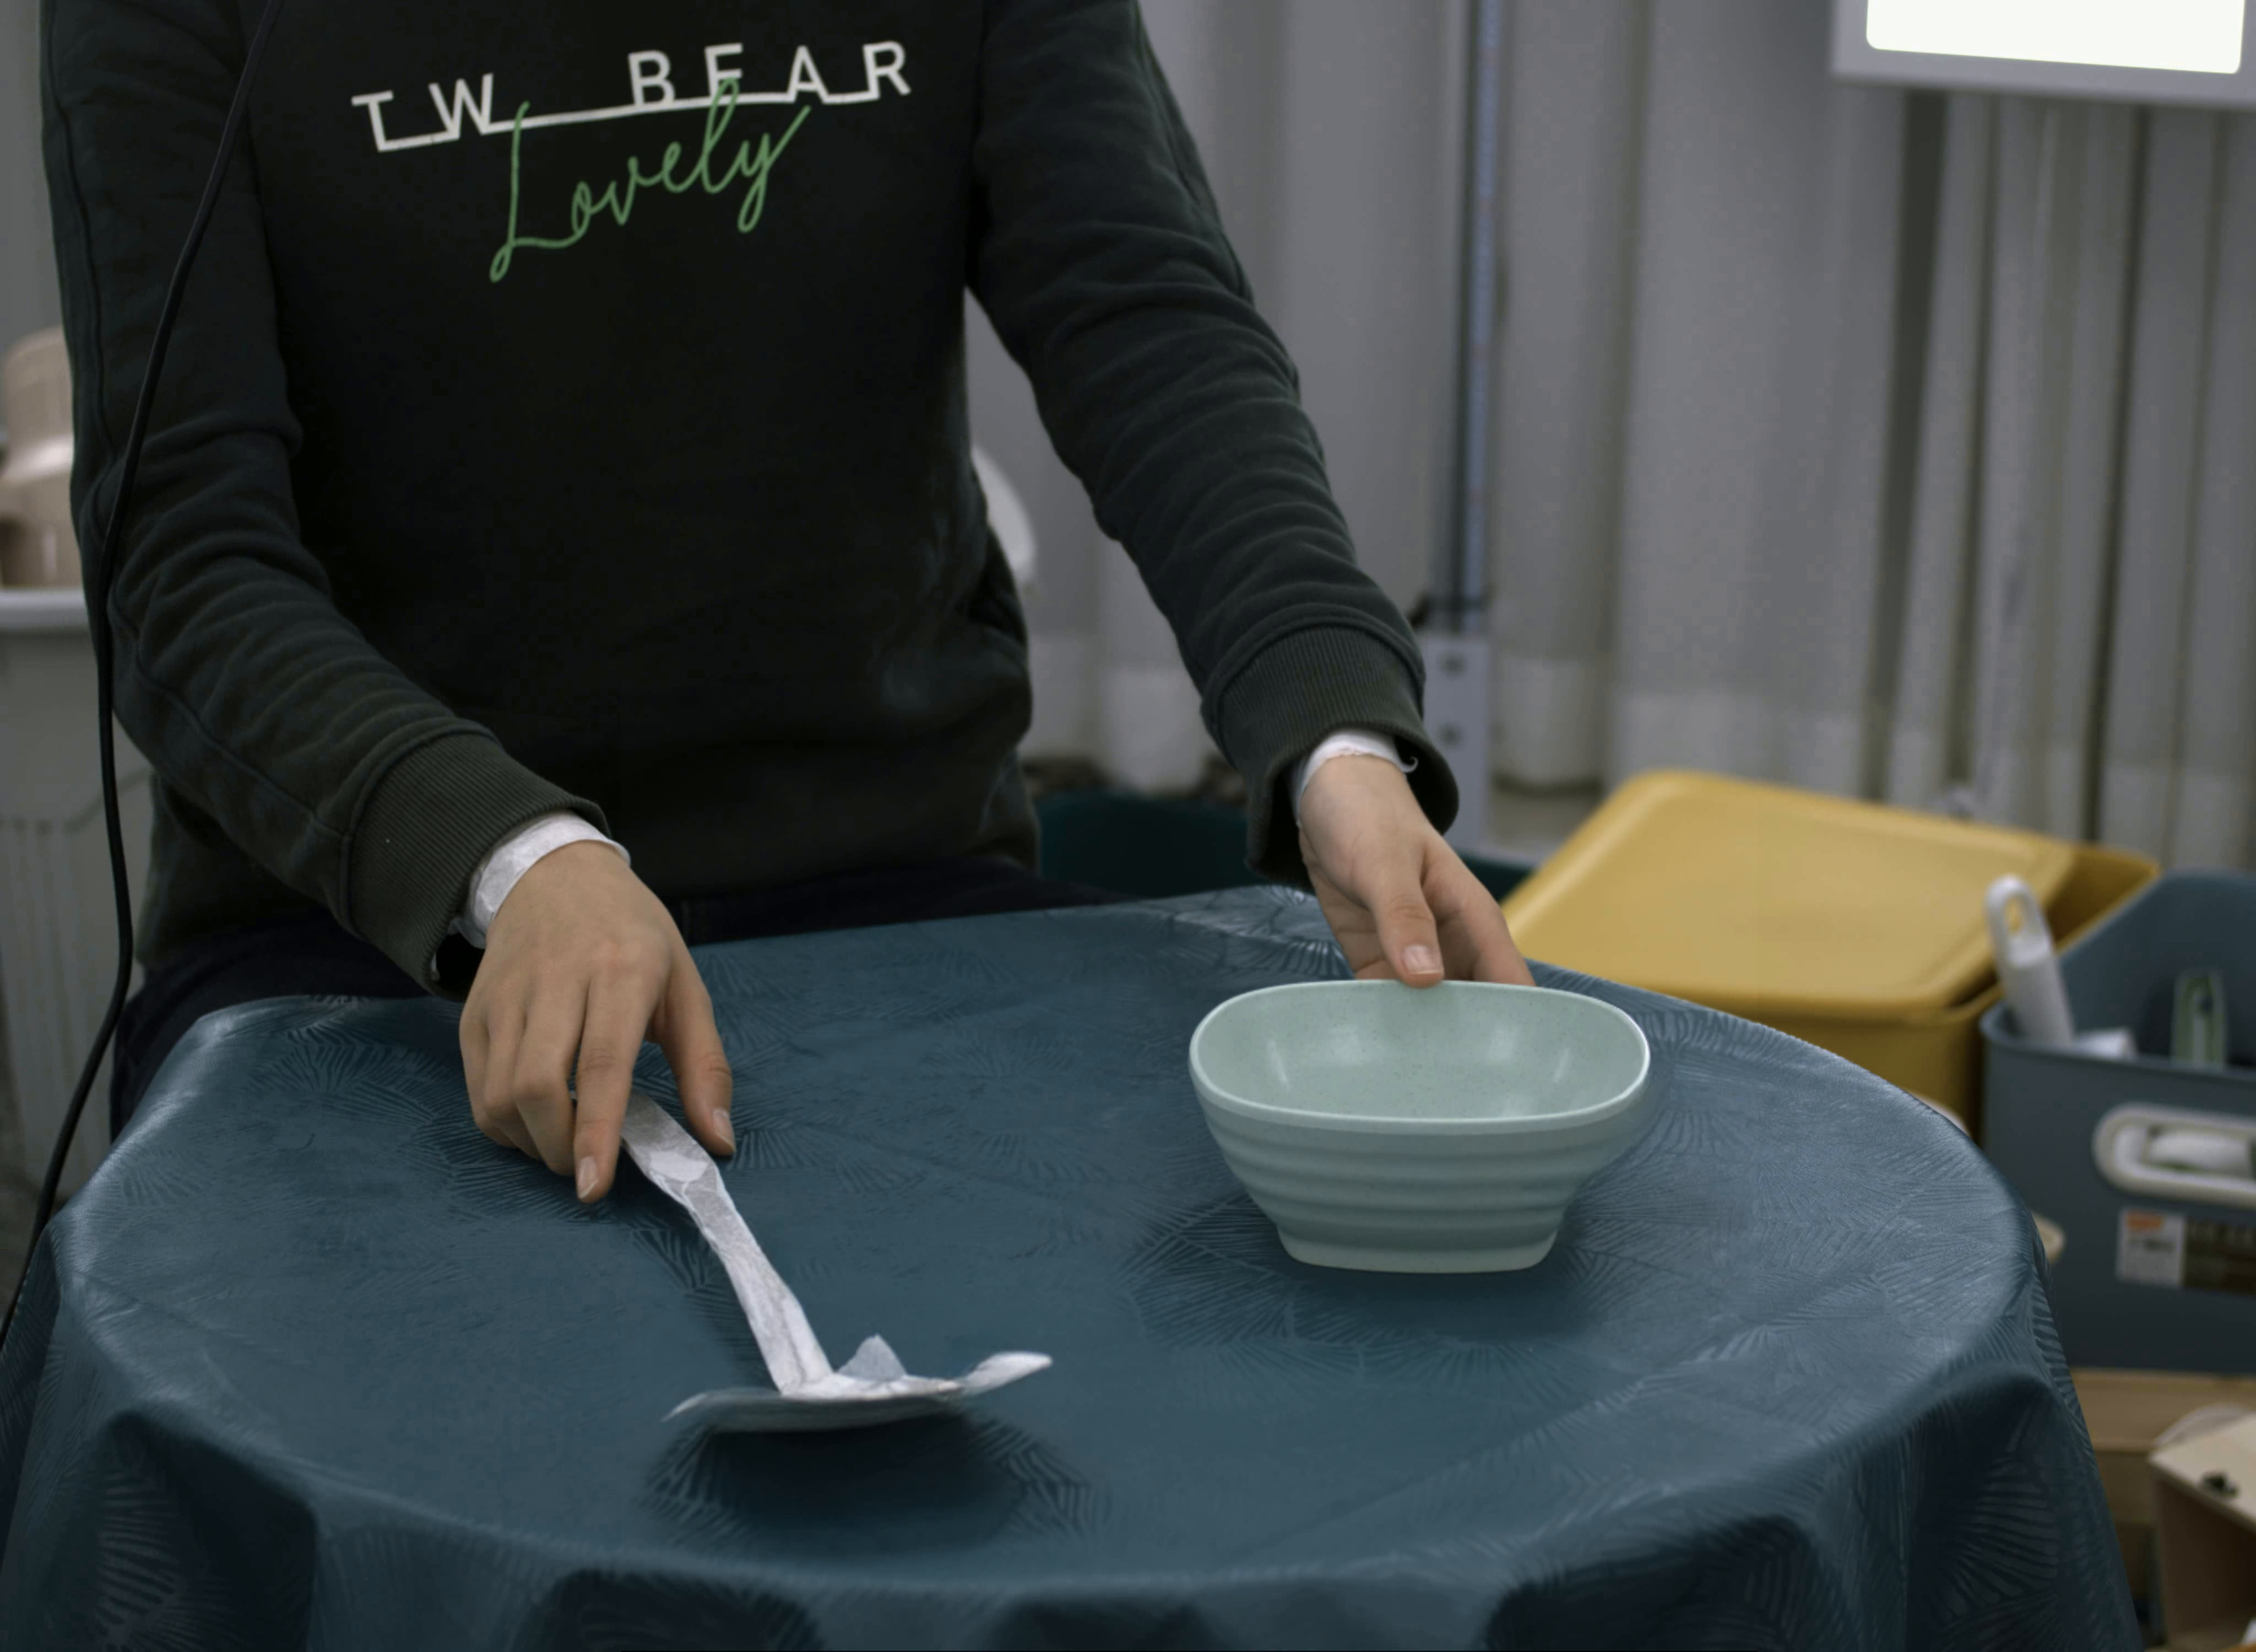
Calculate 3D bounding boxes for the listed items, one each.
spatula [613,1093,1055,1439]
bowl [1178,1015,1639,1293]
[{"bbox_3d":[-0.110,0.118,1.531,0.099,0.045,0.361,-6,17,-16],"label":"spatula"},{"bbox_3d":[0.084,0.101,1.589,0.151,0.059,0.151,2,12,0],"label":"bowl"}]
